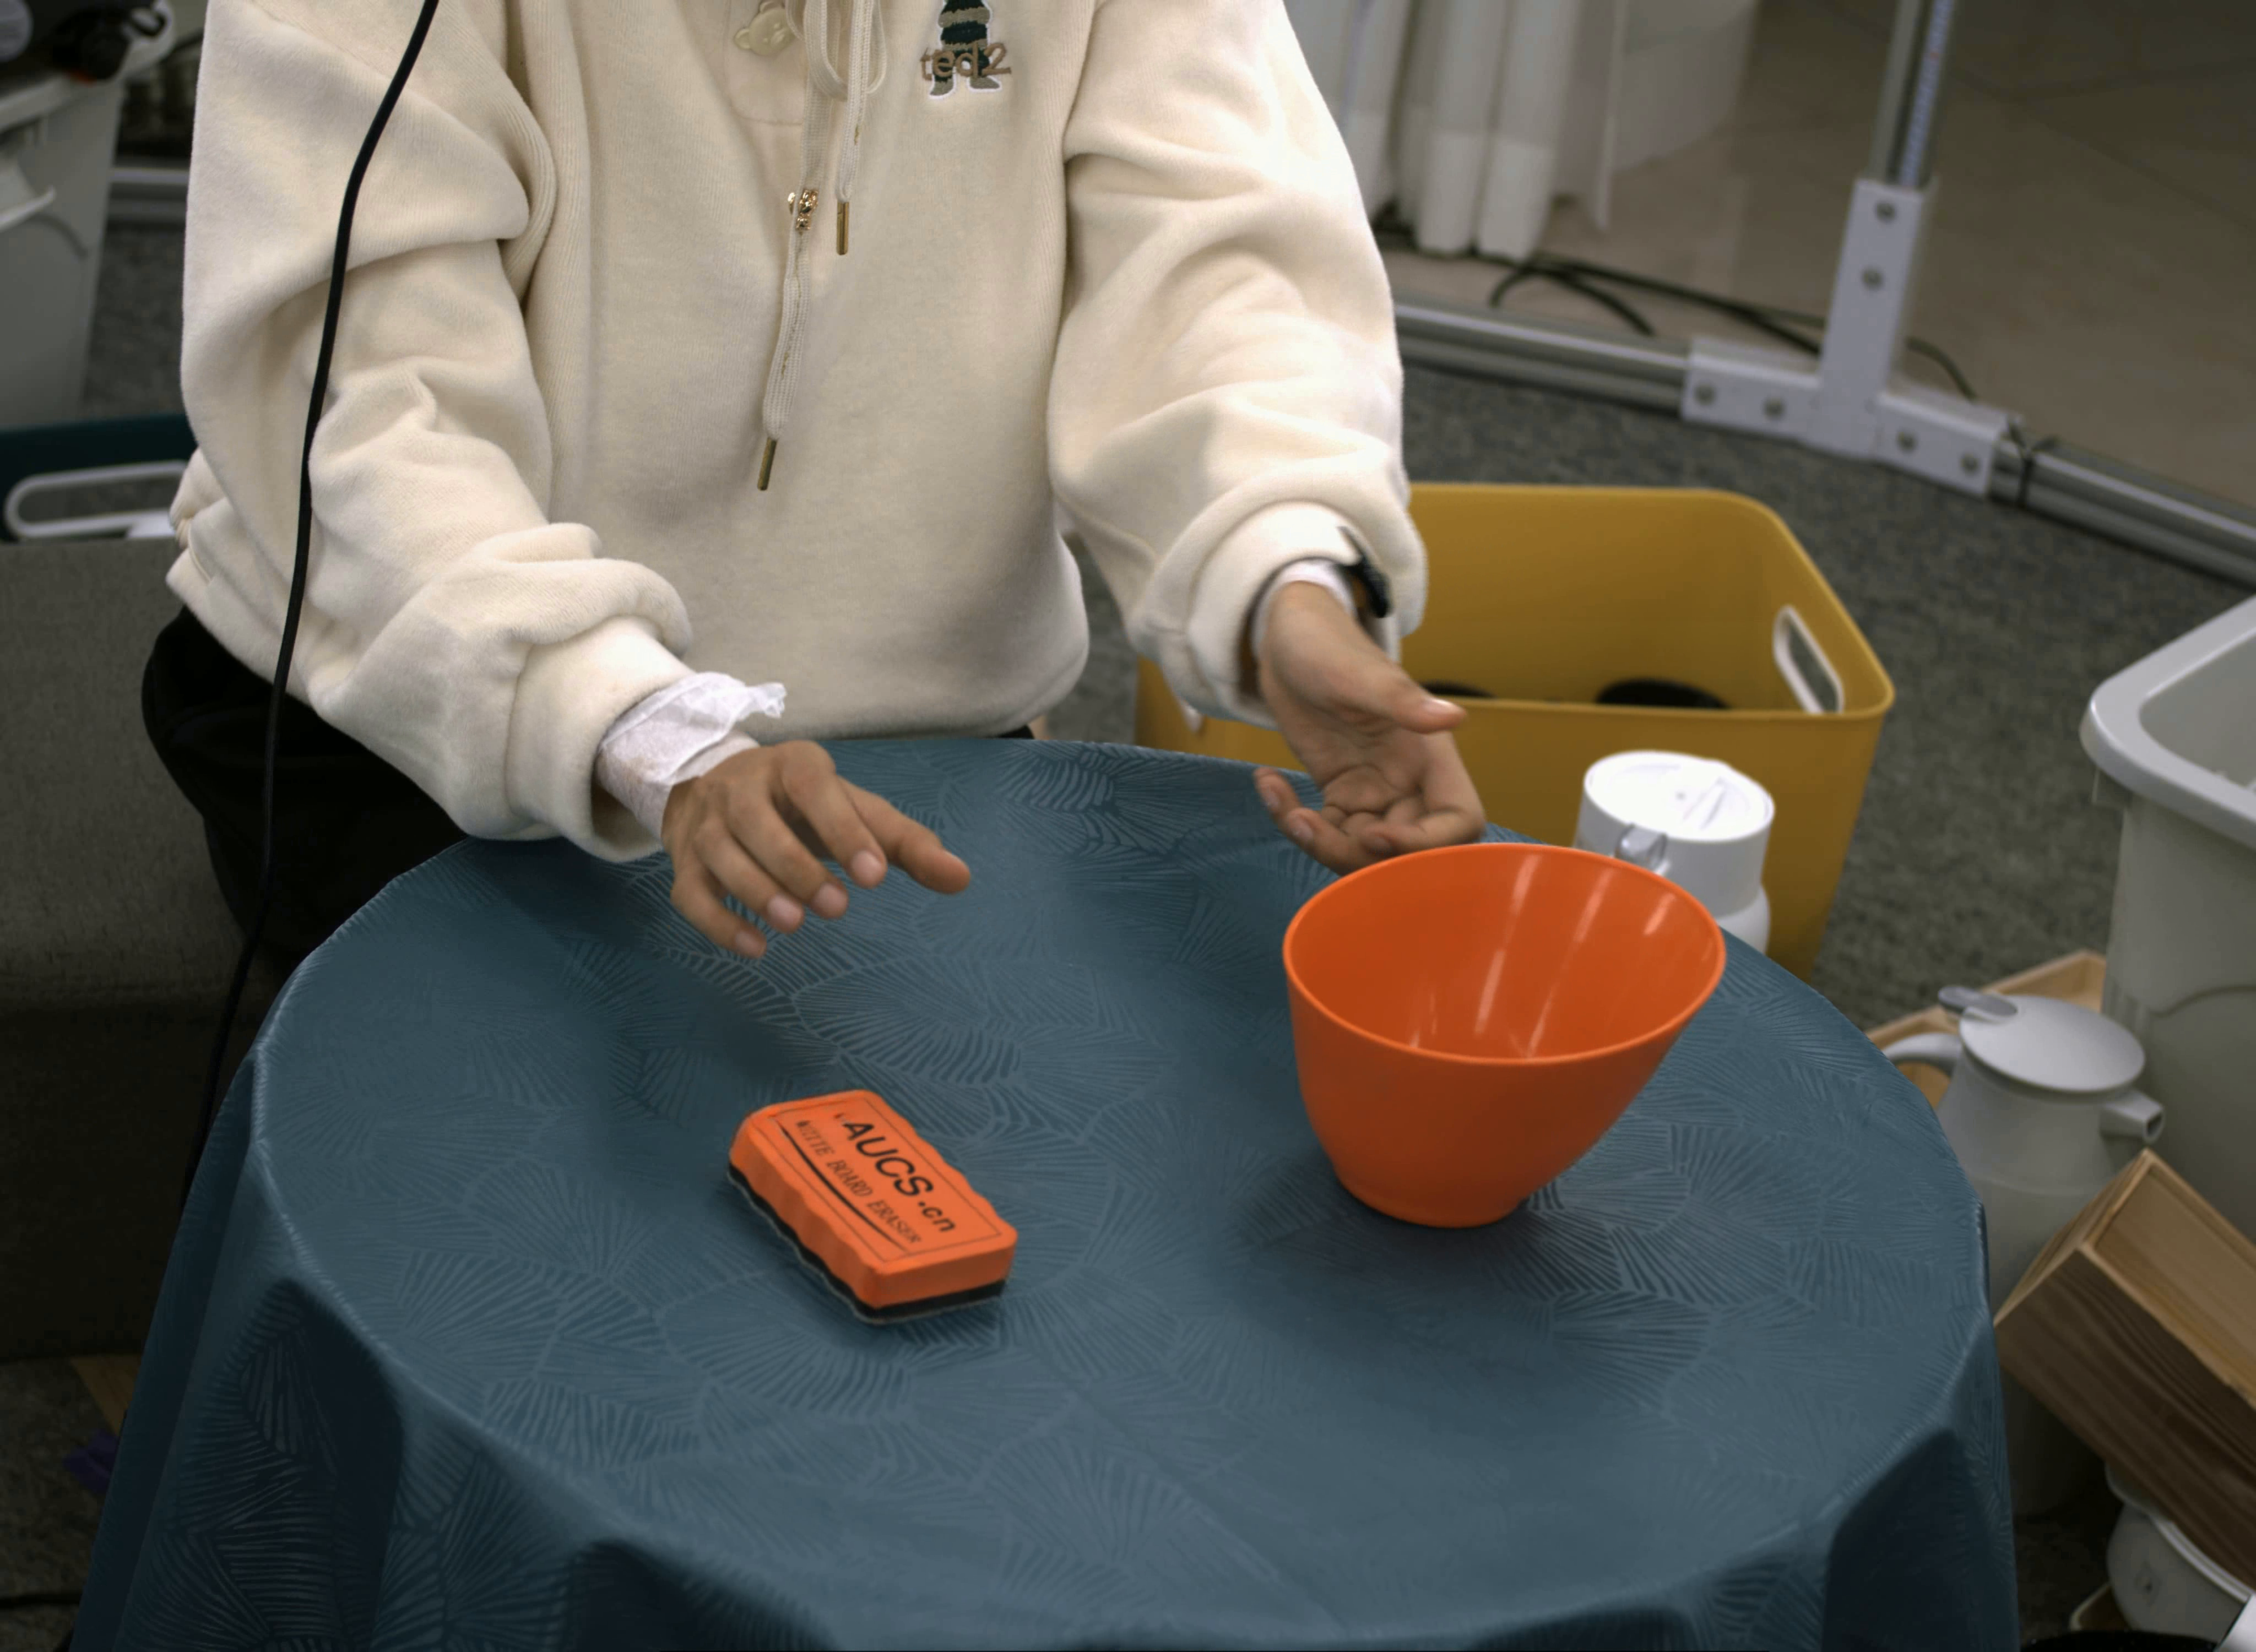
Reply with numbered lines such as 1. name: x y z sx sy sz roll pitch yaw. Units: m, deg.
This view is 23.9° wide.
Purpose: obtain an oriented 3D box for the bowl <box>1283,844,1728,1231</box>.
1. bowl: 0.121 0.078 1.806 0.147 0.104 0.149 8 27 -4

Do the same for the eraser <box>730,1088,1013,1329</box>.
1. eraser: -0.085 0.125 1.755 0.058 0.023 0.109 -12 32 -28
